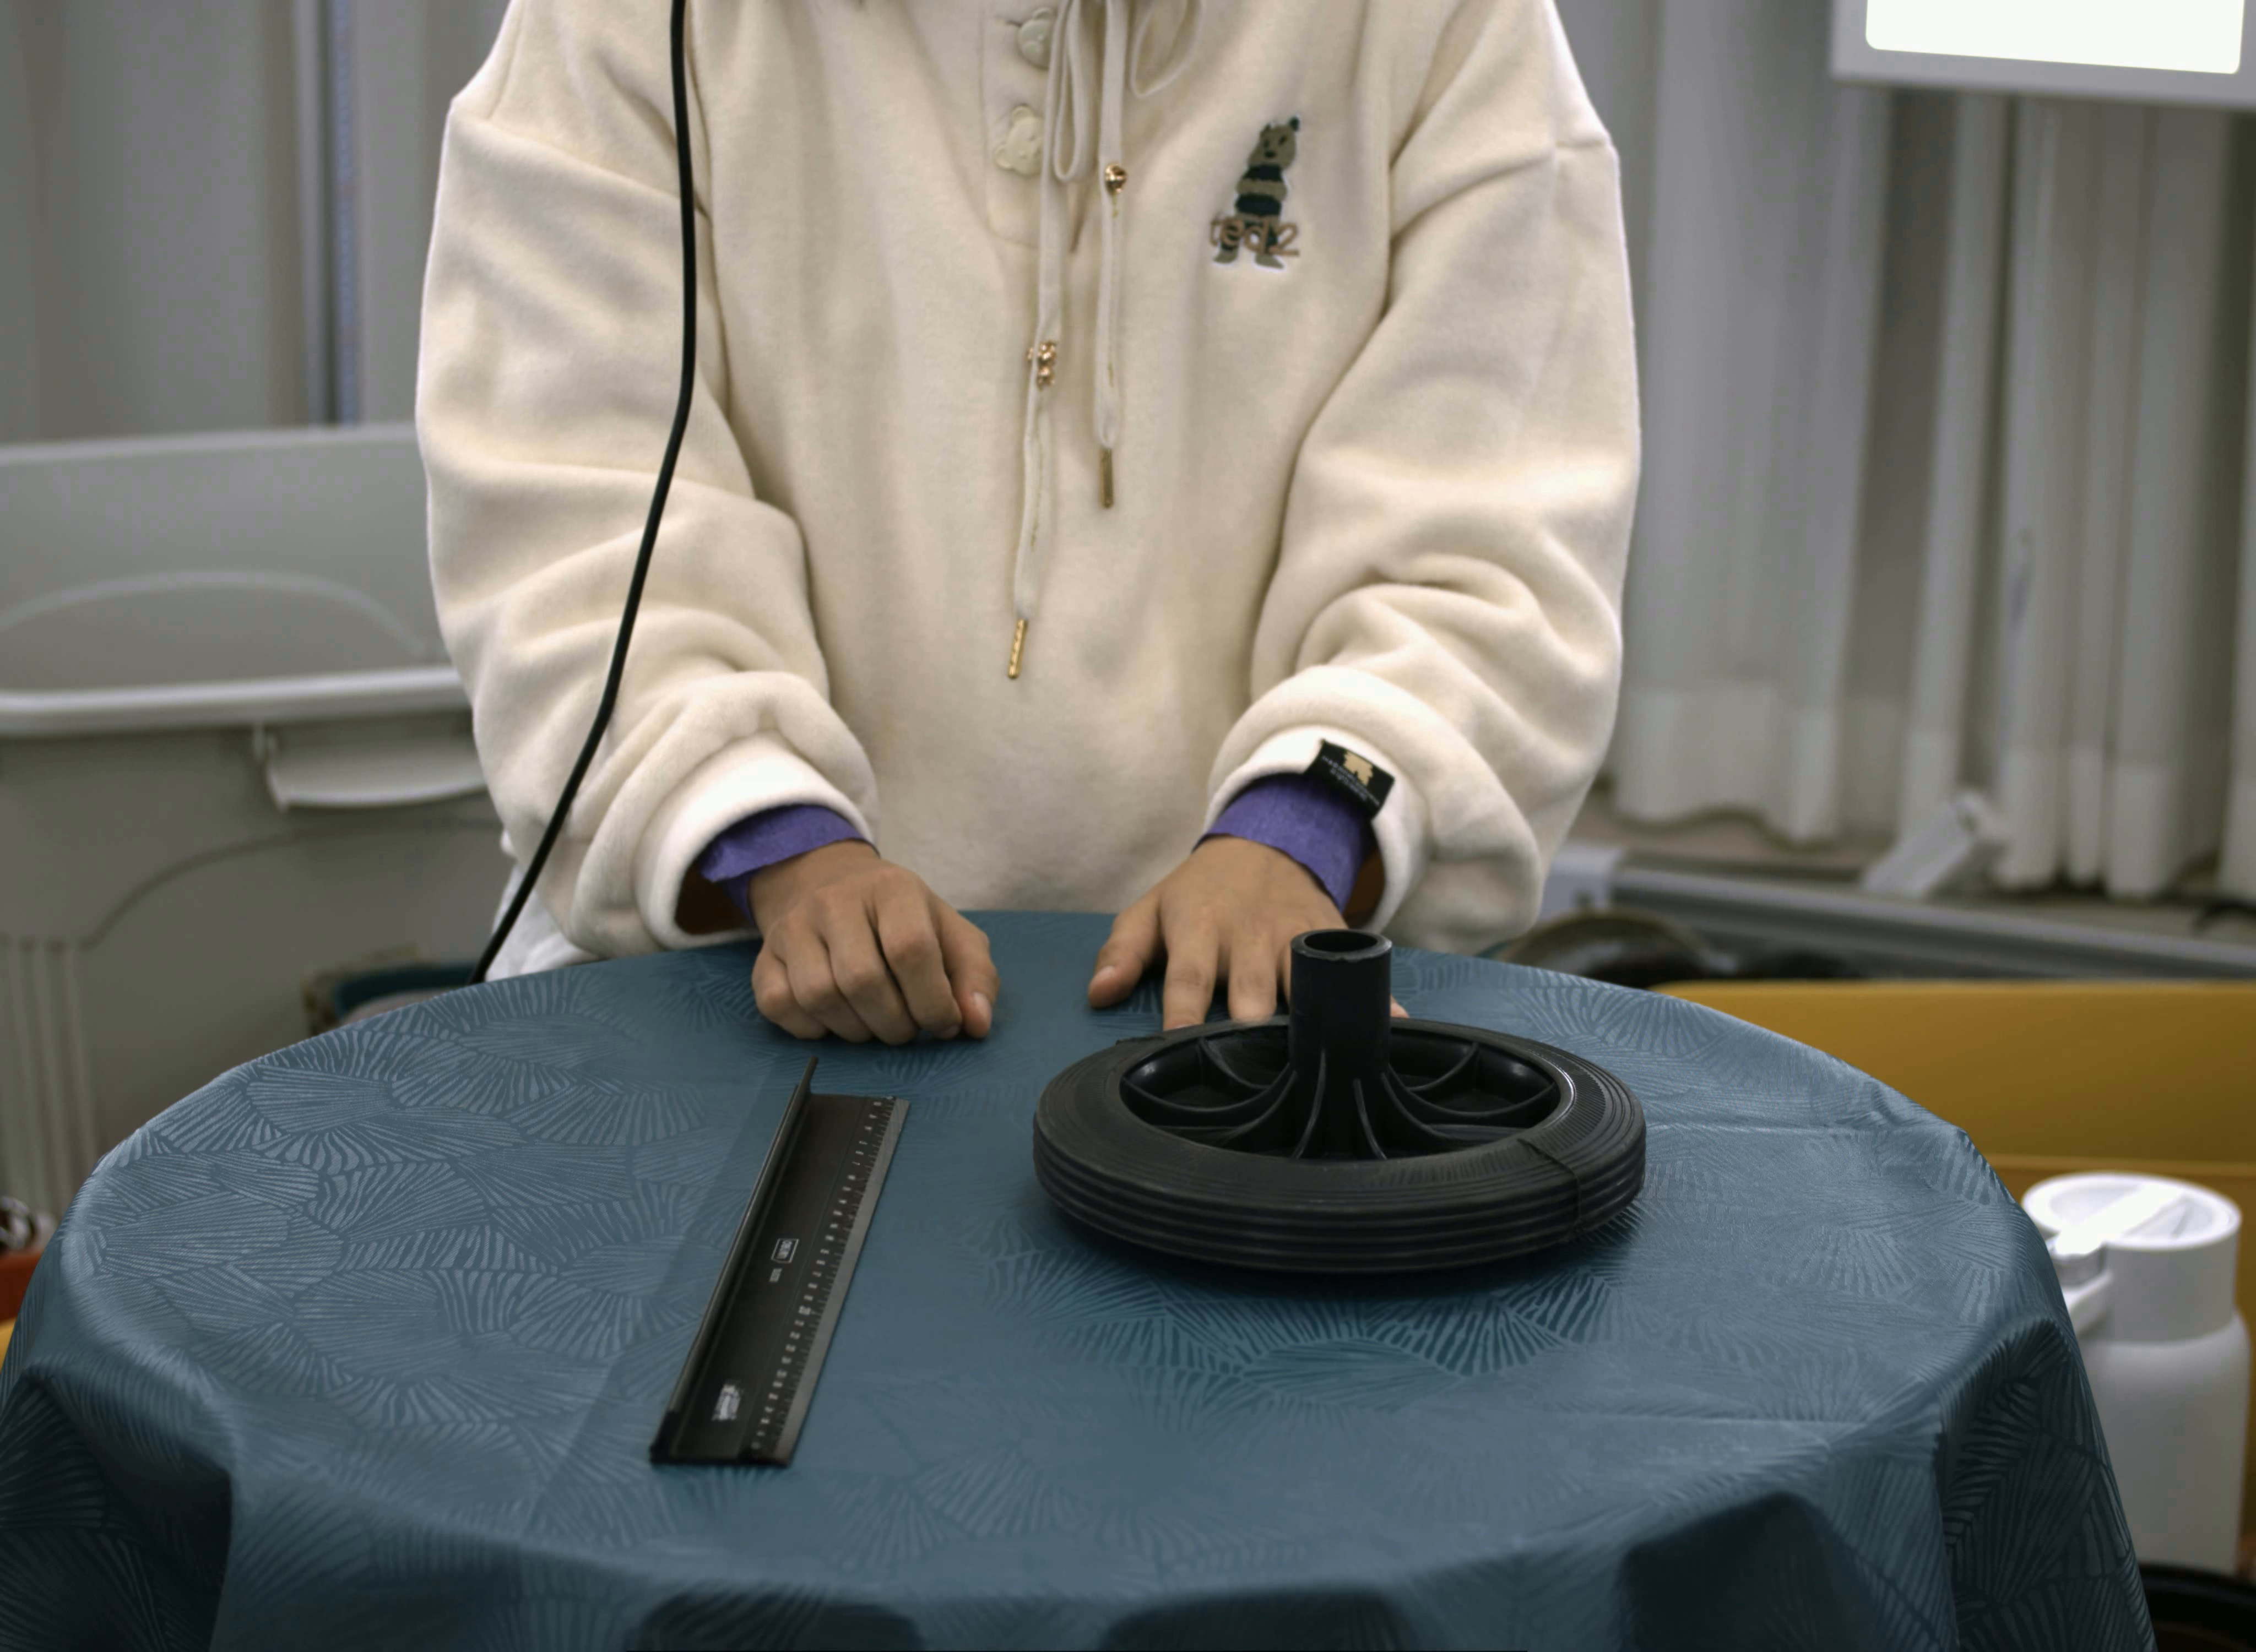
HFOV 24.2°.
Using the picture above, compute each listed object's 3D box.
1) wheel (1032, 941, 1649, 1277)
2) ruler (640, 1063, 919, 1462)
[{"bbox_3d":[0.065,0.077,1.607,0.190,0.080,0.186,-2,16,-11],"label":"wheel"},{"bbox_3d":[-0.099,0.123,1.550,0.039,0.017,0.311,5,15,4],"label":"ruler"}]
